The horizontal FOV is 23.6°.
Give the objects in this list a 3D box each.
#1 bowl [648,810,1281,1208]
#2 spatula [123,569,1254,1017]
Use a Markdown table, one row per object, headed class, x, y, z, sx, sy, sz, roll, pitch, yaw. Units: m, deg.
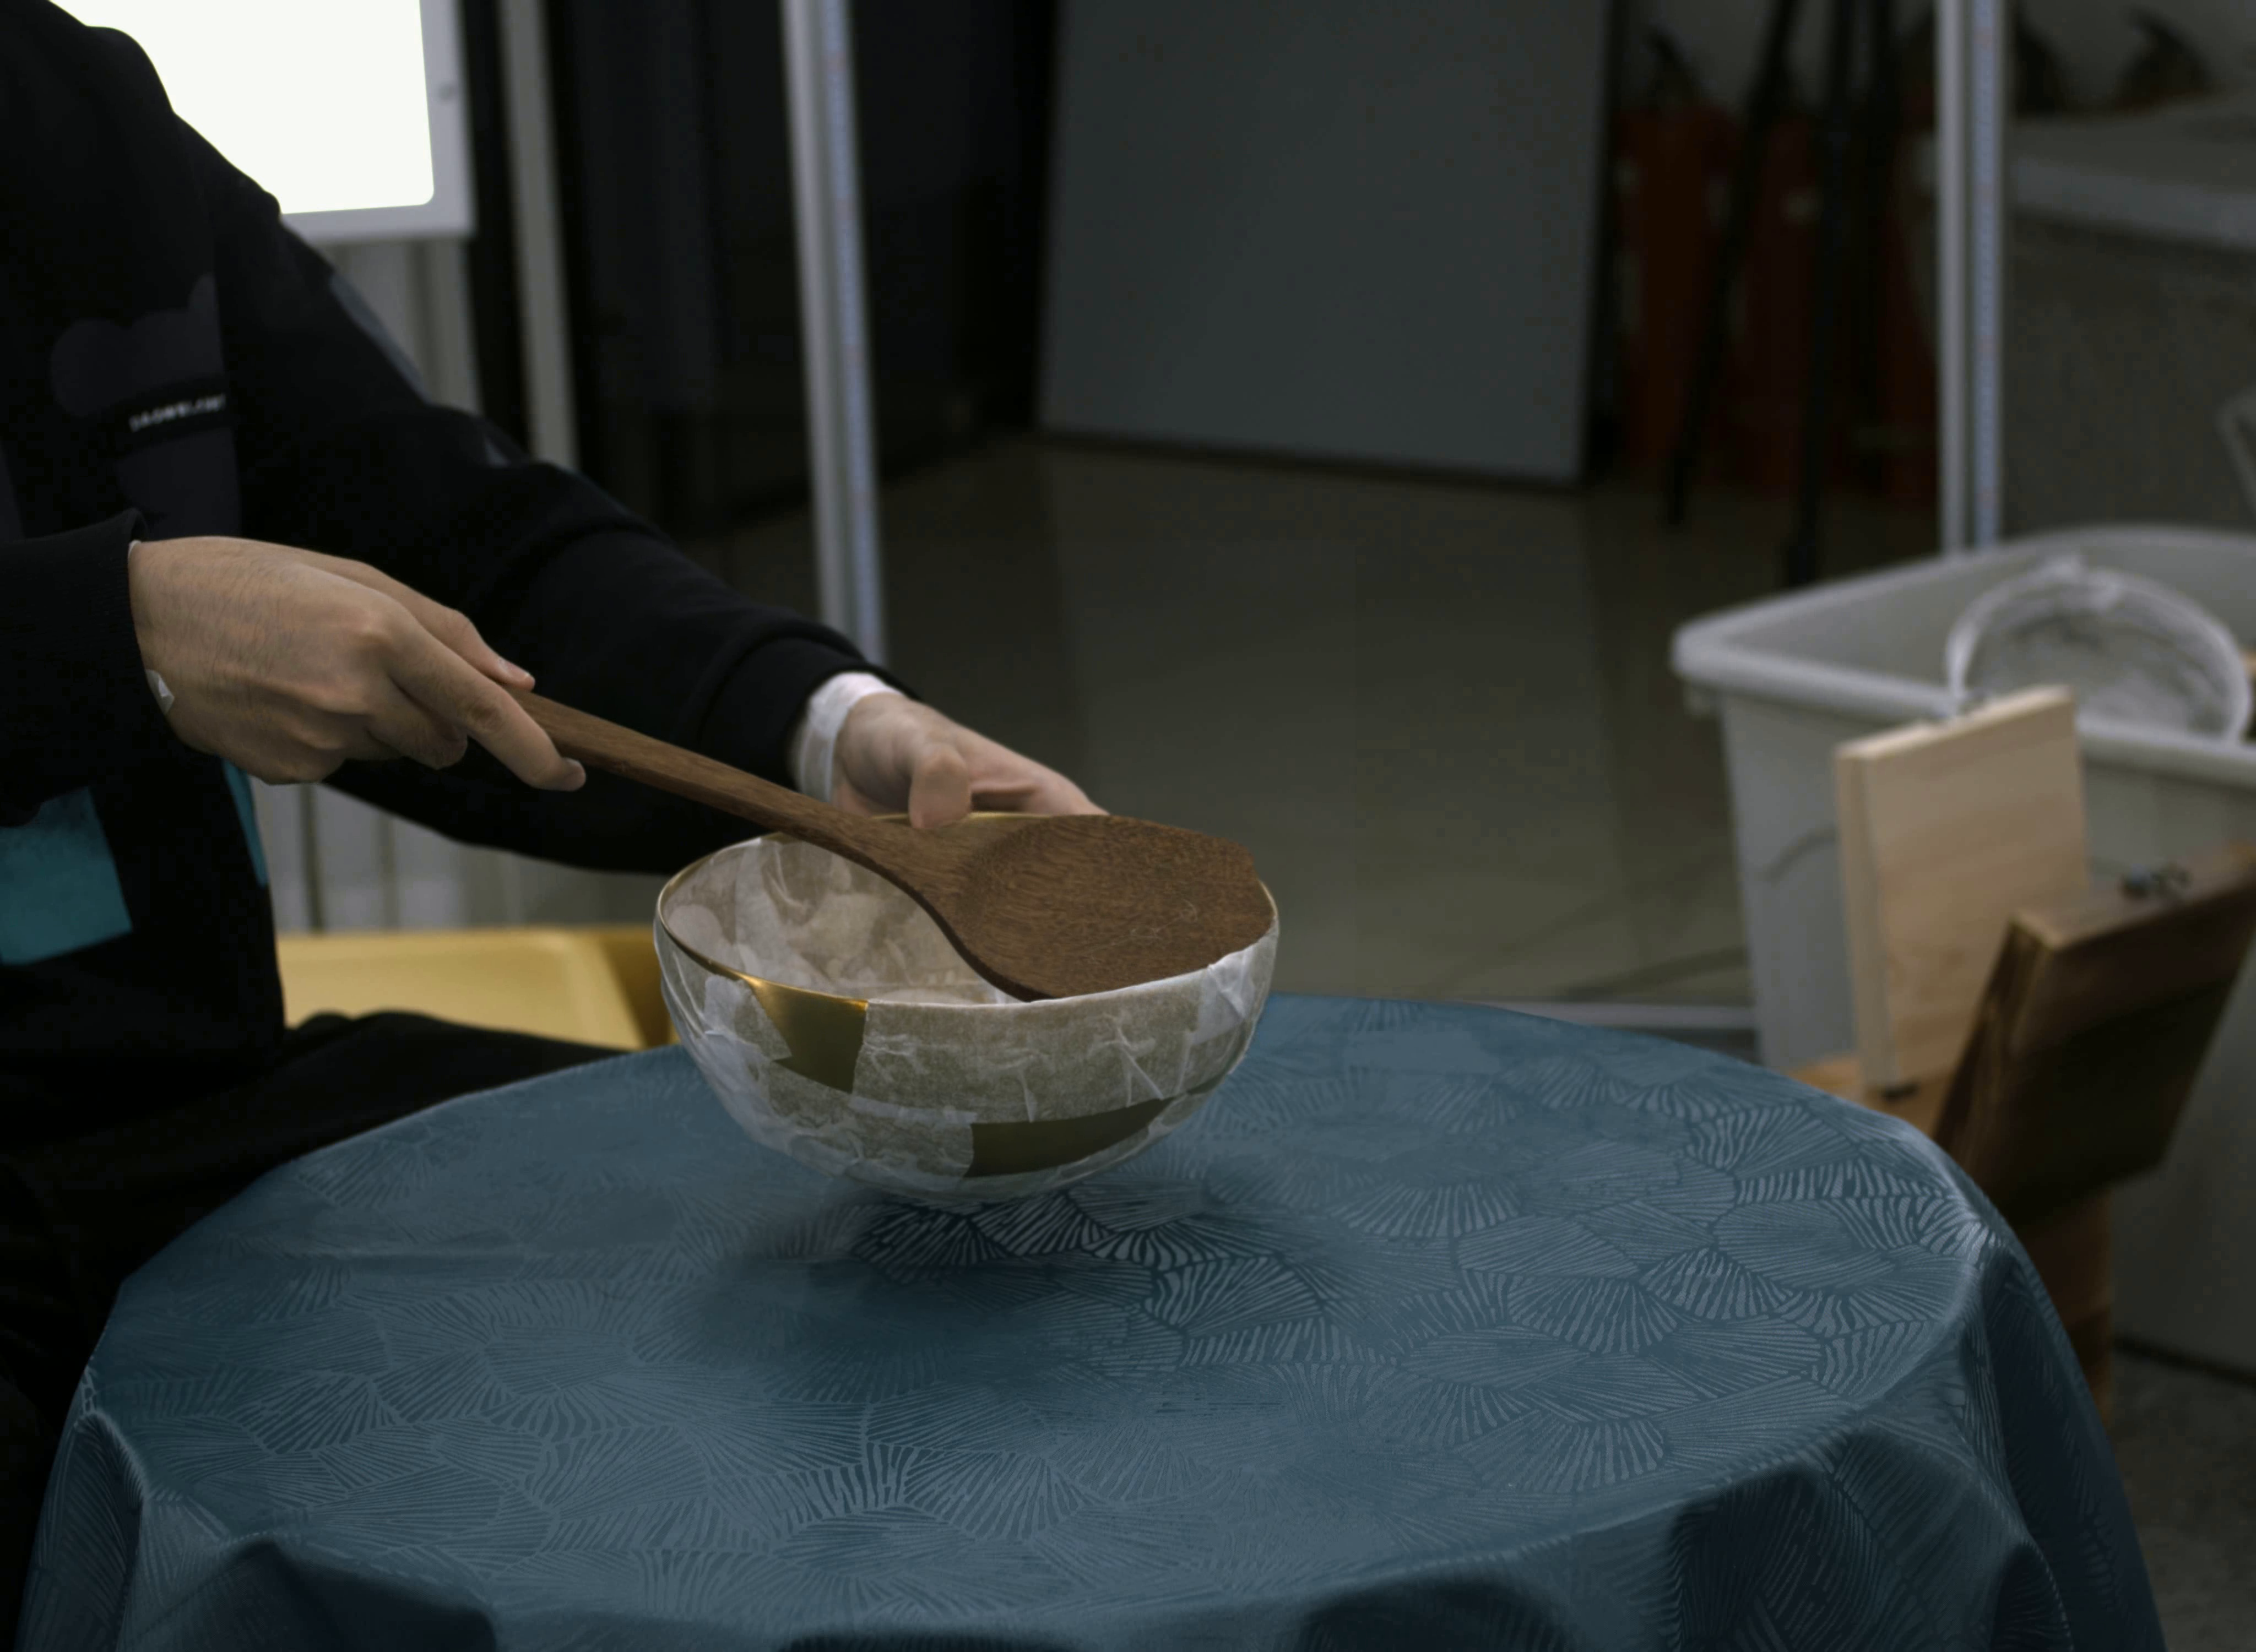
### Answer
| class | x | y | z | sx | sy | sz | roll | pitch | yaw |
| --- | --- | --- | --- | --- | --- | --- | --- | --- | --- |
| bowl | -0.050 | 0.065 | 1.728 | 0.212 | 0.095 | 0.215 | -2 | 16 | 0 |
| spatula | -0.144 | -0.019 | 1.714 | 0.384 | 0.016 | 0.096 | 18 | 41 | 11 |
